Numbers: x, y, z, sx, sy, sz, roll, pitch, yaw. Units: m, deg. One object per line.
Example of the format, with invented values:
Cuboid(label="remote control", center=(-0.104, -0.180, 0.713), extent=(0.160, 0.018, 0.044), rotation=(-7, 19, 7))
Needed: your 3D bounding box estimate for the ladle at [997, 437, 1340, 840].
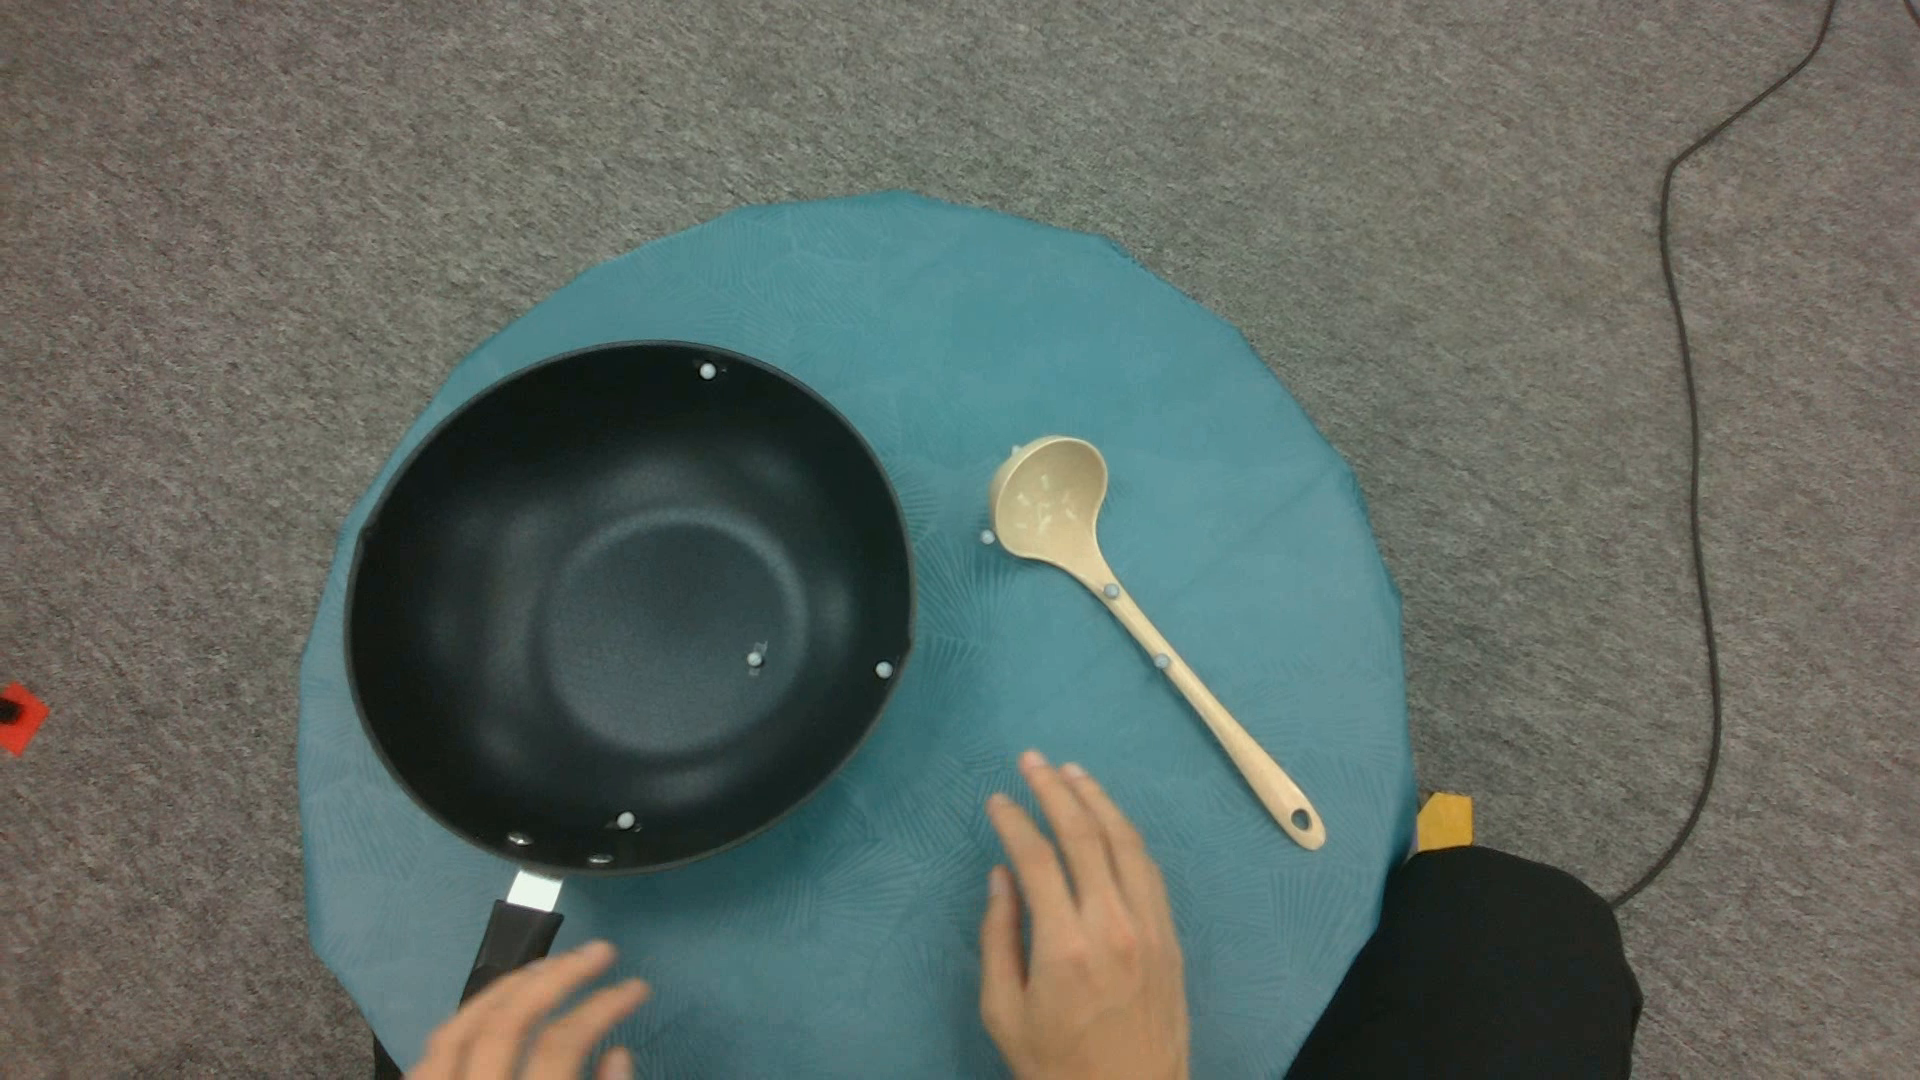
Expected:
Cuboid(label="ladle", center=(0.115, 0.049, 0.721), extent=(0.072, 0.072, 0.255), rotation=(-36, 71, -13))

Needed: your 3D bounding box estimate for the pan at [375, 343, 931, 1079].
Cuboid(label="pan", center=(-0.177, 0.122, 0.702), extent=(0.288, 0.086, 0.465), rotation=(12, 71, 7))
